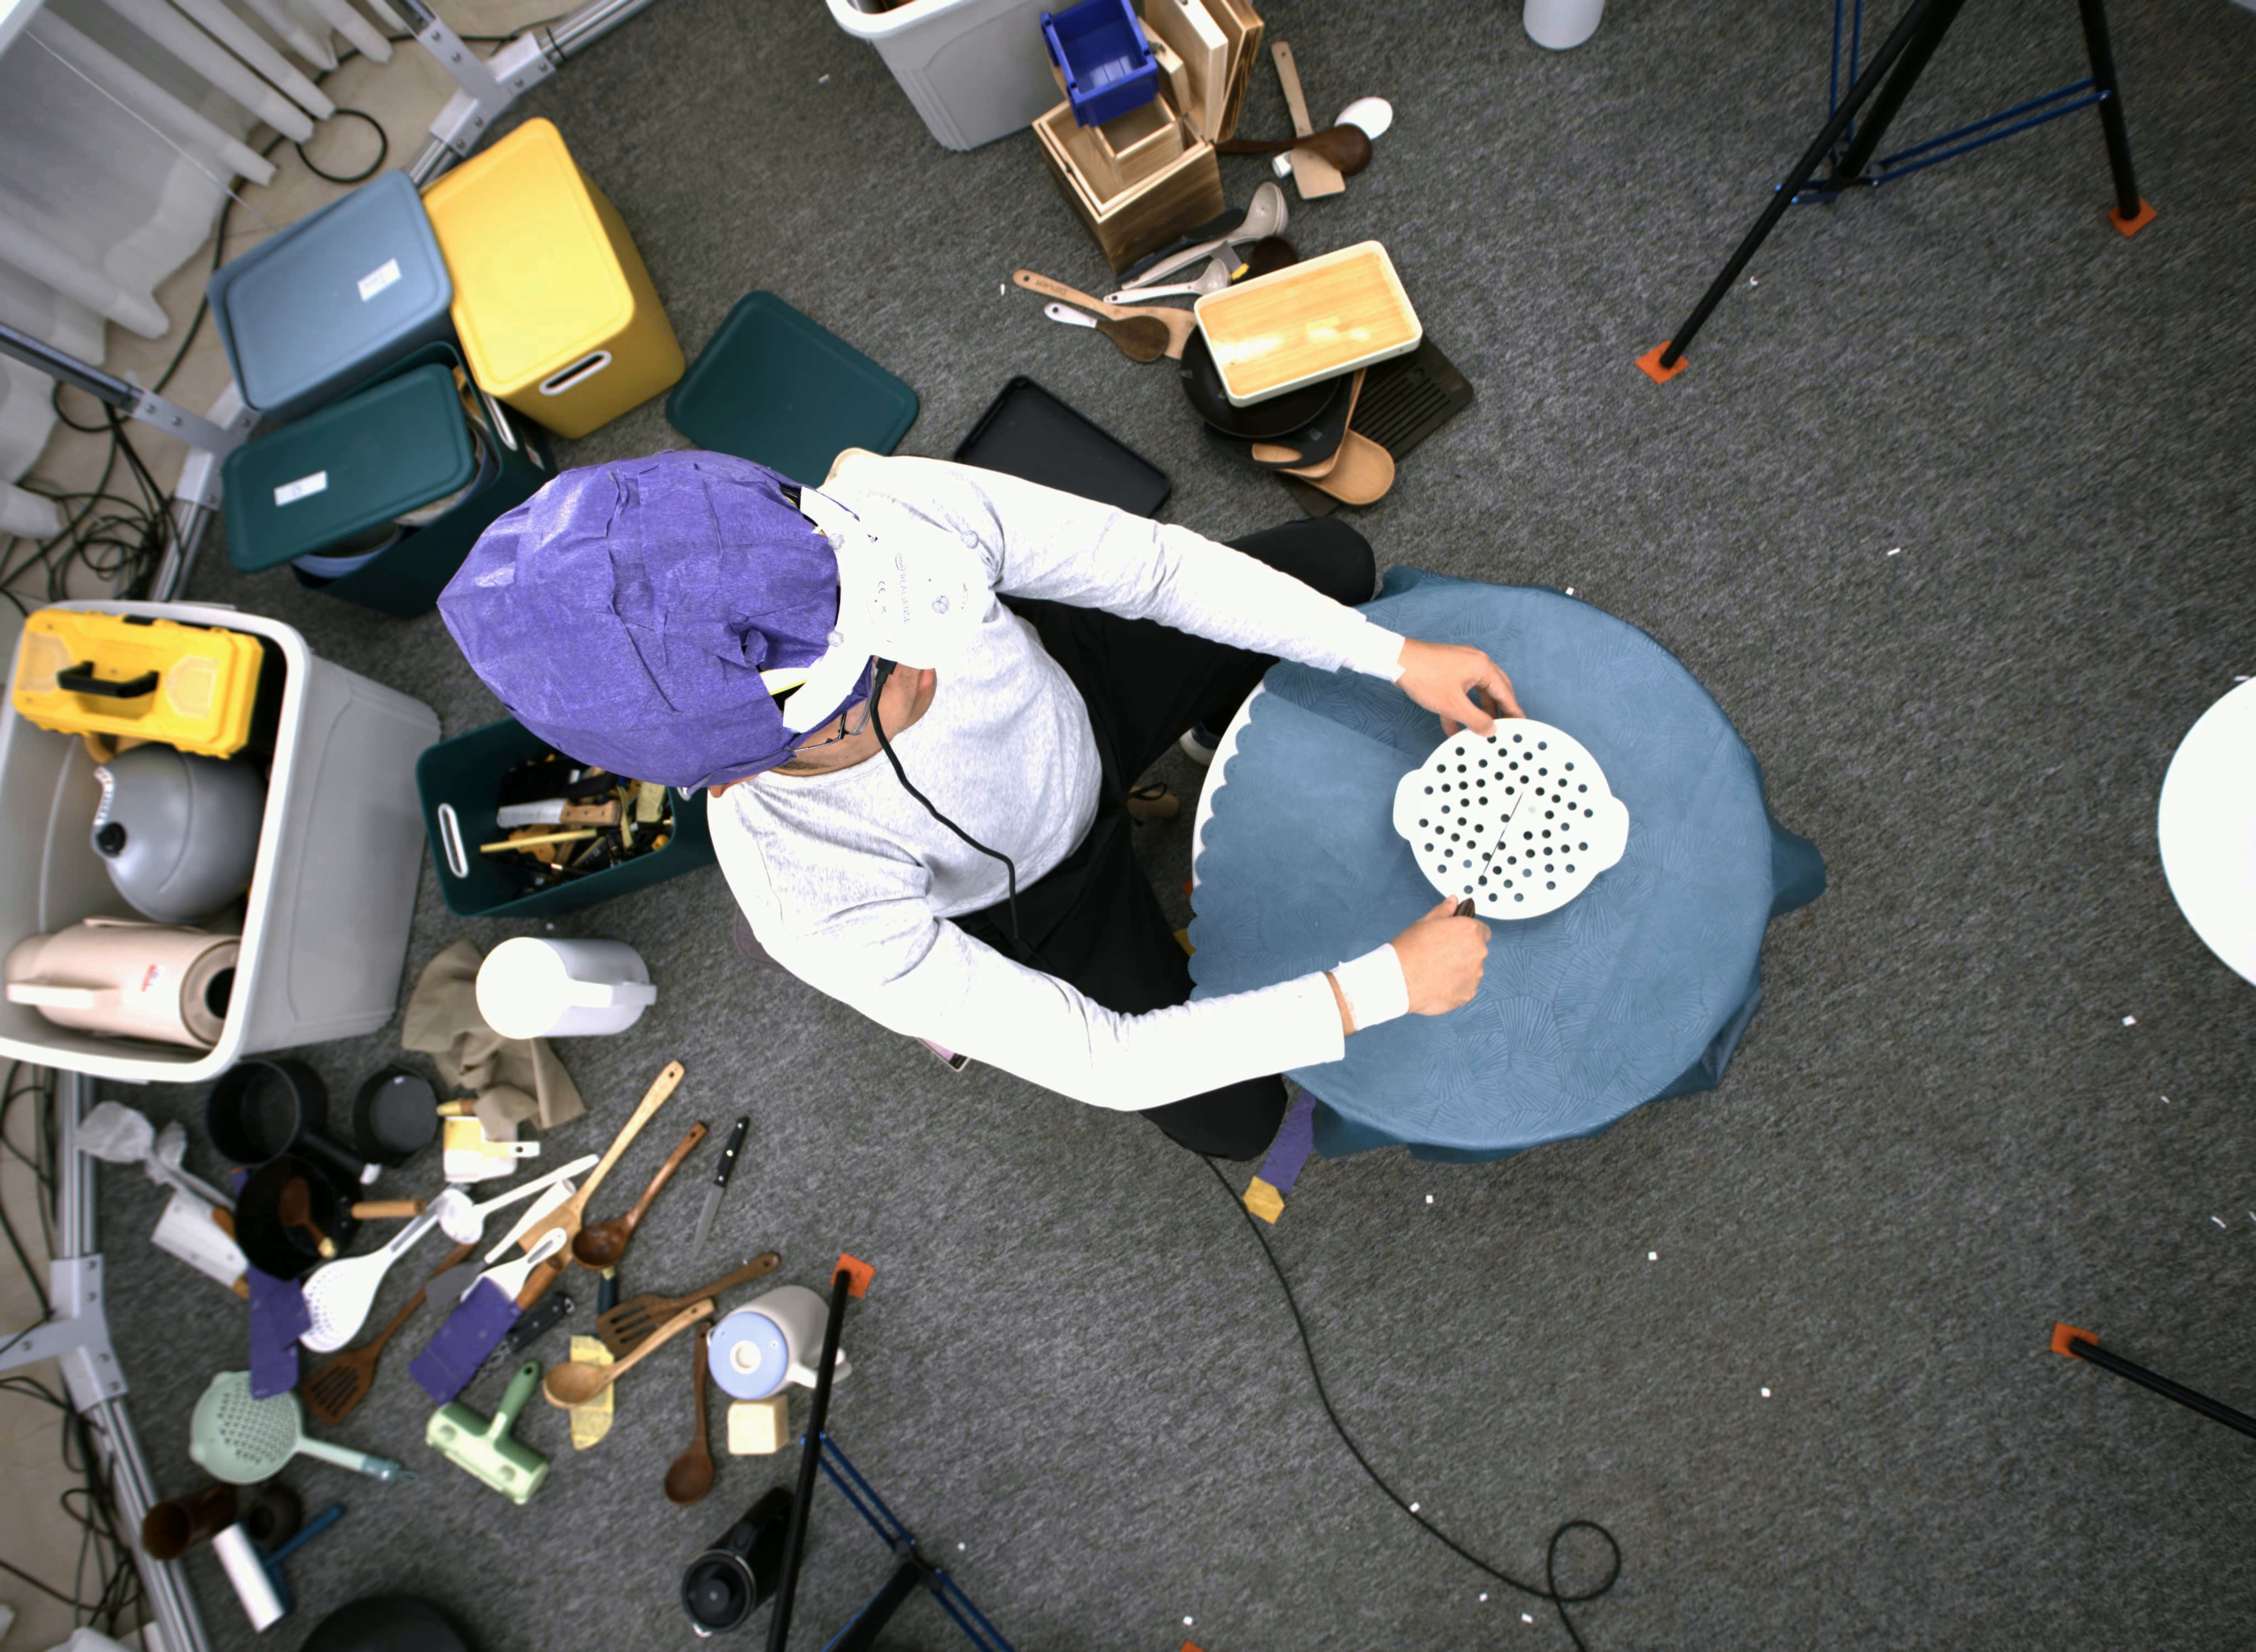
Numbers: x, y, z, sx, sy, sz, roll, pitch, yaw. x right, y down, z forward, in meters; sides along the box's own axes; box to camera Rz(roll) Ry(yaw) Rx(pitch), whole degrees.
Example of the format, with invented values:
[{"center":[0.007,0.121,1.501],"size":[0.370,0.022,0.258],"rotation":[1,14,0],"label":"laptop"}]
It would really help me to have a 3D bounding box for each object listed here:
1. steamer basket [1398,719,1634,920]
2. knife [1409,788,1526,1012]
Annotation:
[{"center":[0.392,-0.009,1.400],"size":[0.231,0.069,0.202],"rotation":[8,94,11],"label":"steamer basket"},{"center":[0.333,0.063,1.325],"size":[0.020,0.051,0.283],"rotation":[27,61,13],"label":"knife"}]
